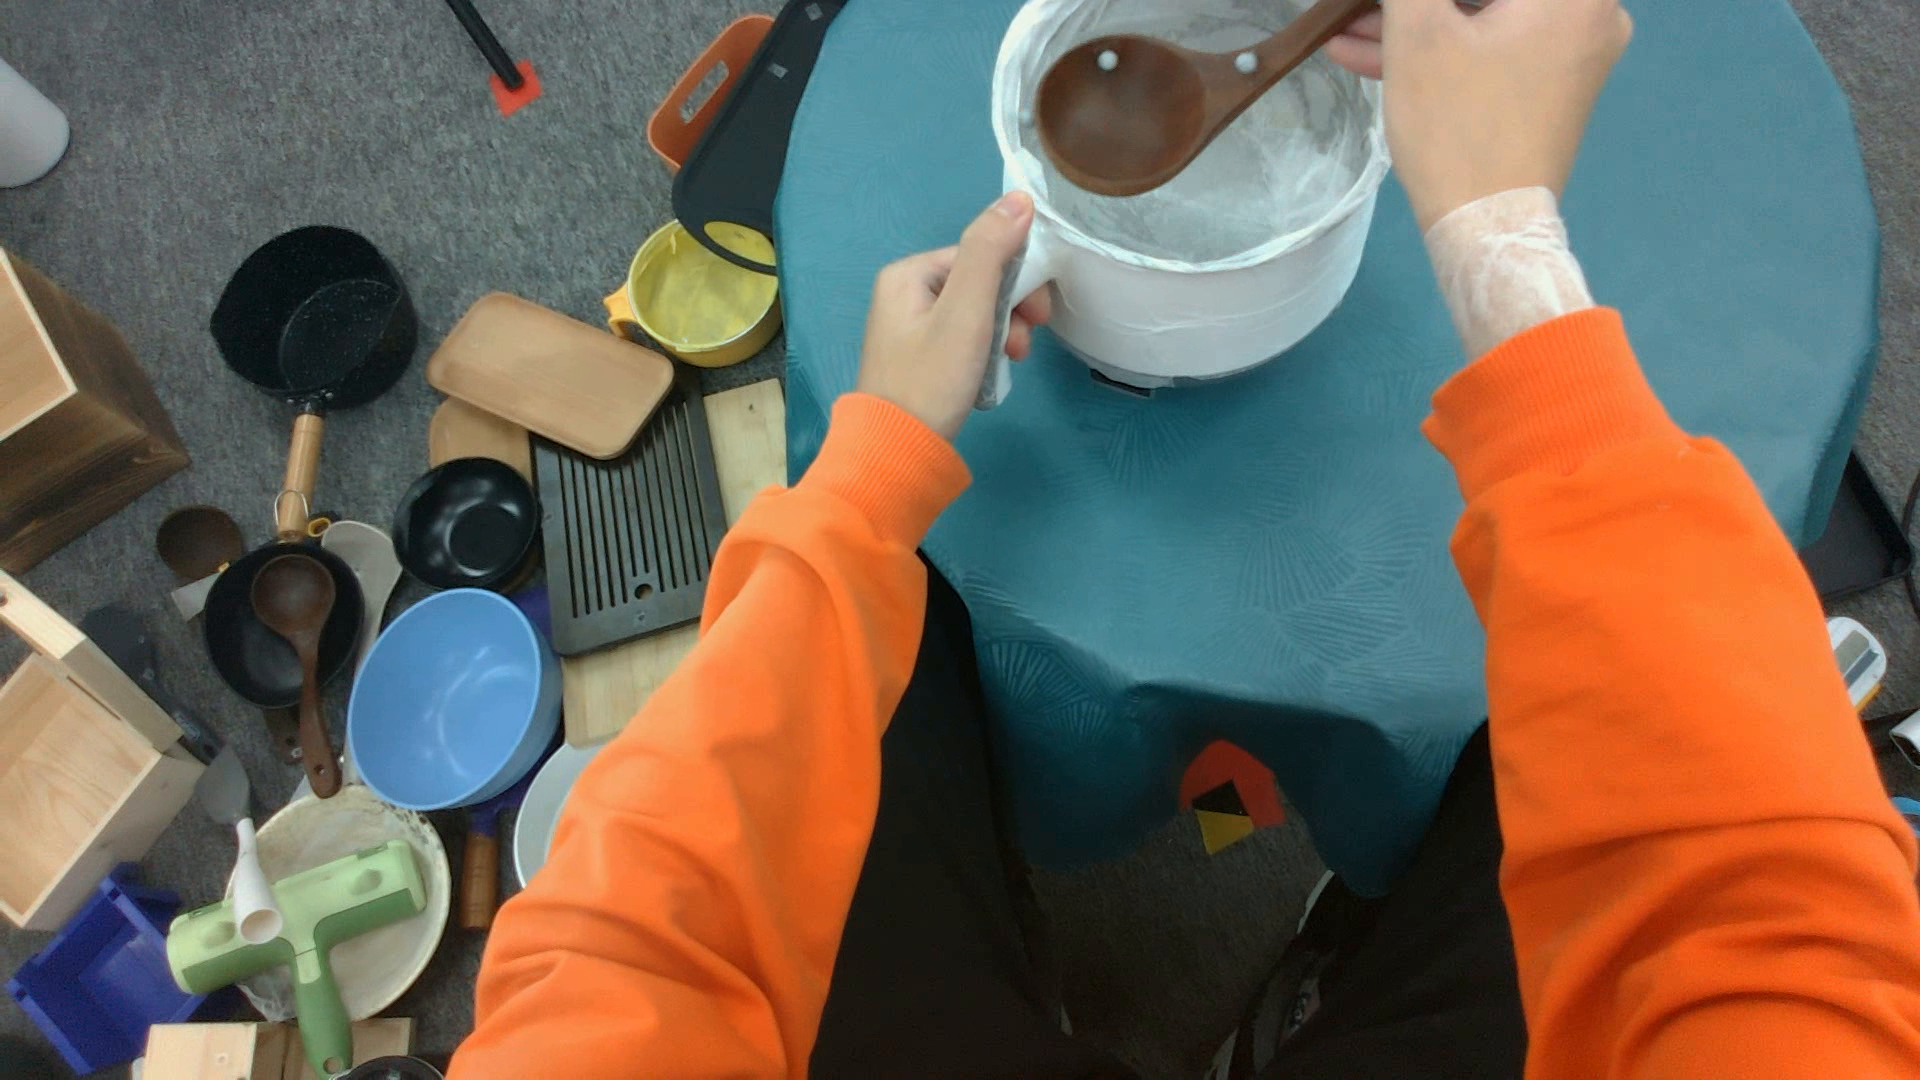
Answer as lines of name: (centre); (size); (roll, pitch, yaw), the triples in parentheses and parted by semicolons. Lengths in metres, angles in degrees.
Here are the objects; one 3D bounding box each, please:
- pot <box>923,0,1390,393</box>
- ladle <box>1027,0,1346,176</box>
pot: (0.079, -0.163, 0.650); (0.234, 0.136, 0.179); (-39, 72, -9)
ladle: (0.136, -0.220, 0.535); (0.259, 0.065, 0.076); (-21, 75, 41)
